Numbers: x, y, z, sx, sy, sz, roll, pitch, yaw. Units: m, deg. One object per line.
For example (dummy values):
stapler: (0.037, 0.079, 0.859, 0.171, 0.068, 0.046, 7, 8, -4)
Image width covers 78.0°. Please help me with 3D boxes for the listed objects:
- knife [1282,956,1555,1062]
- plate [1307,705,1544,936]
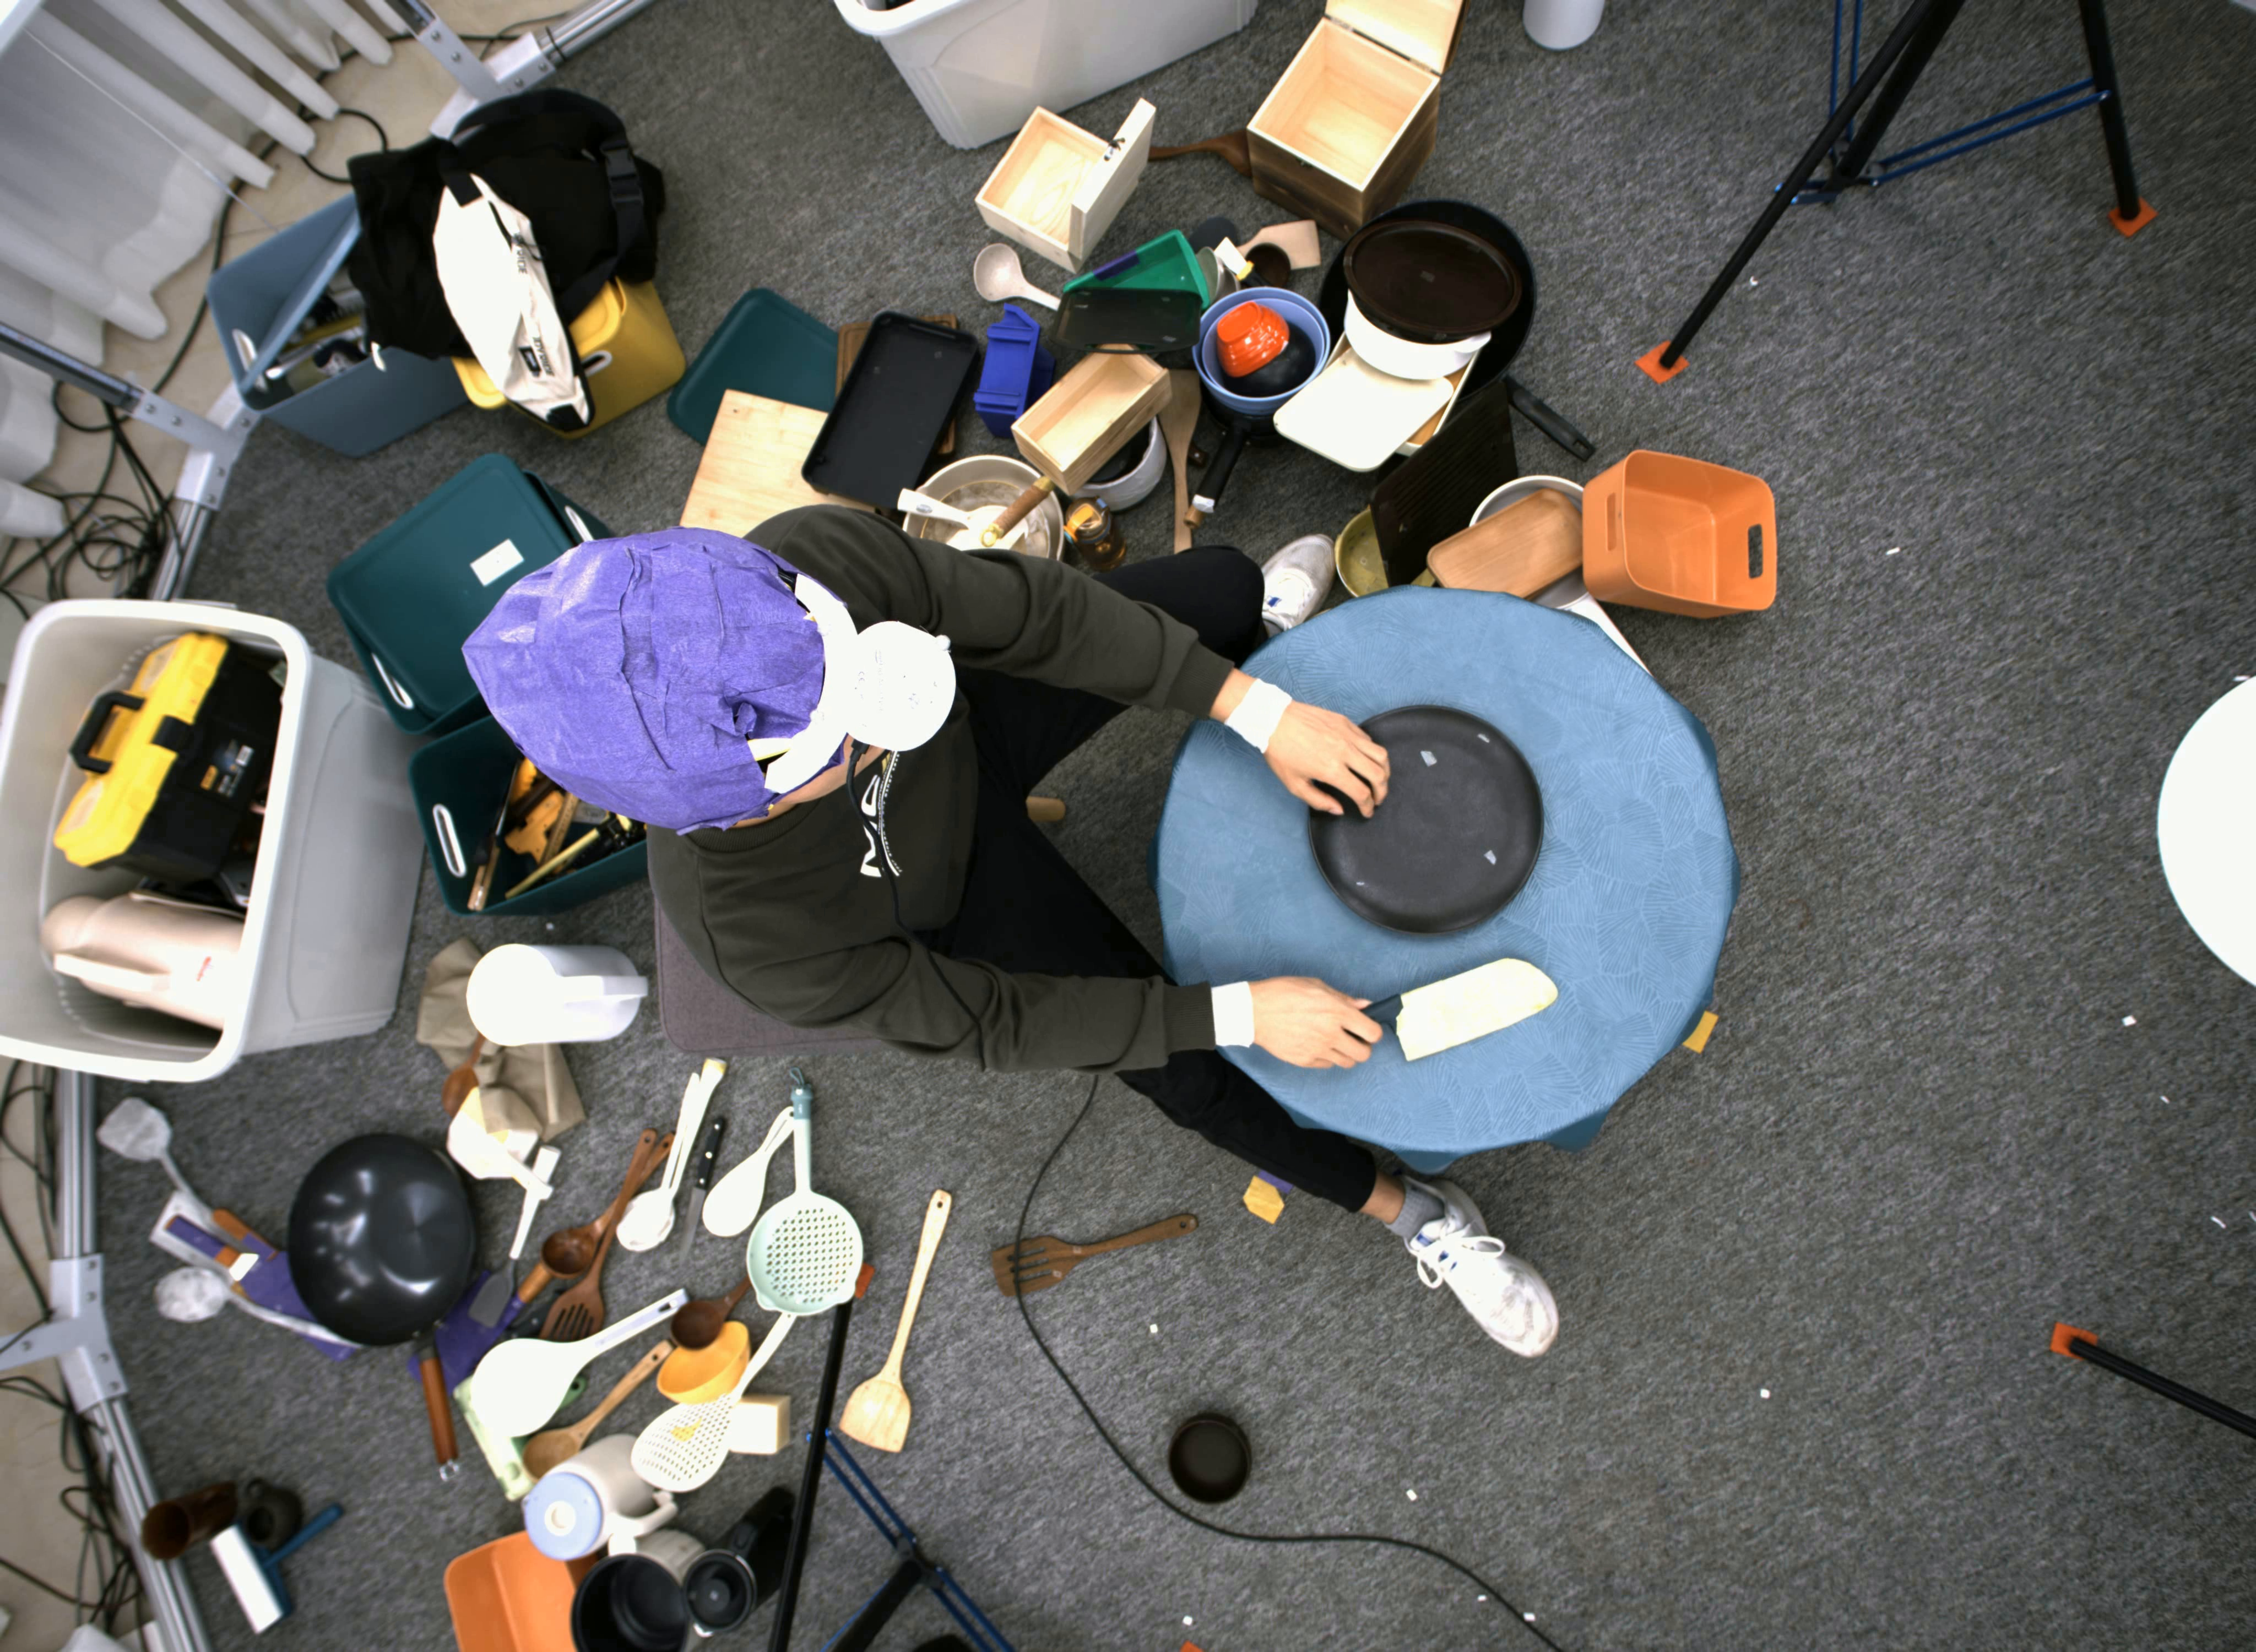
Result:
knife: (0.301, 0.200, 1.425, 0.290, 0.027, 0.081, -17, 100, 5)
plate: (0.311, -0.007, 1.445, 0.245, 0.023, 0.243, -1, 87, 11)
